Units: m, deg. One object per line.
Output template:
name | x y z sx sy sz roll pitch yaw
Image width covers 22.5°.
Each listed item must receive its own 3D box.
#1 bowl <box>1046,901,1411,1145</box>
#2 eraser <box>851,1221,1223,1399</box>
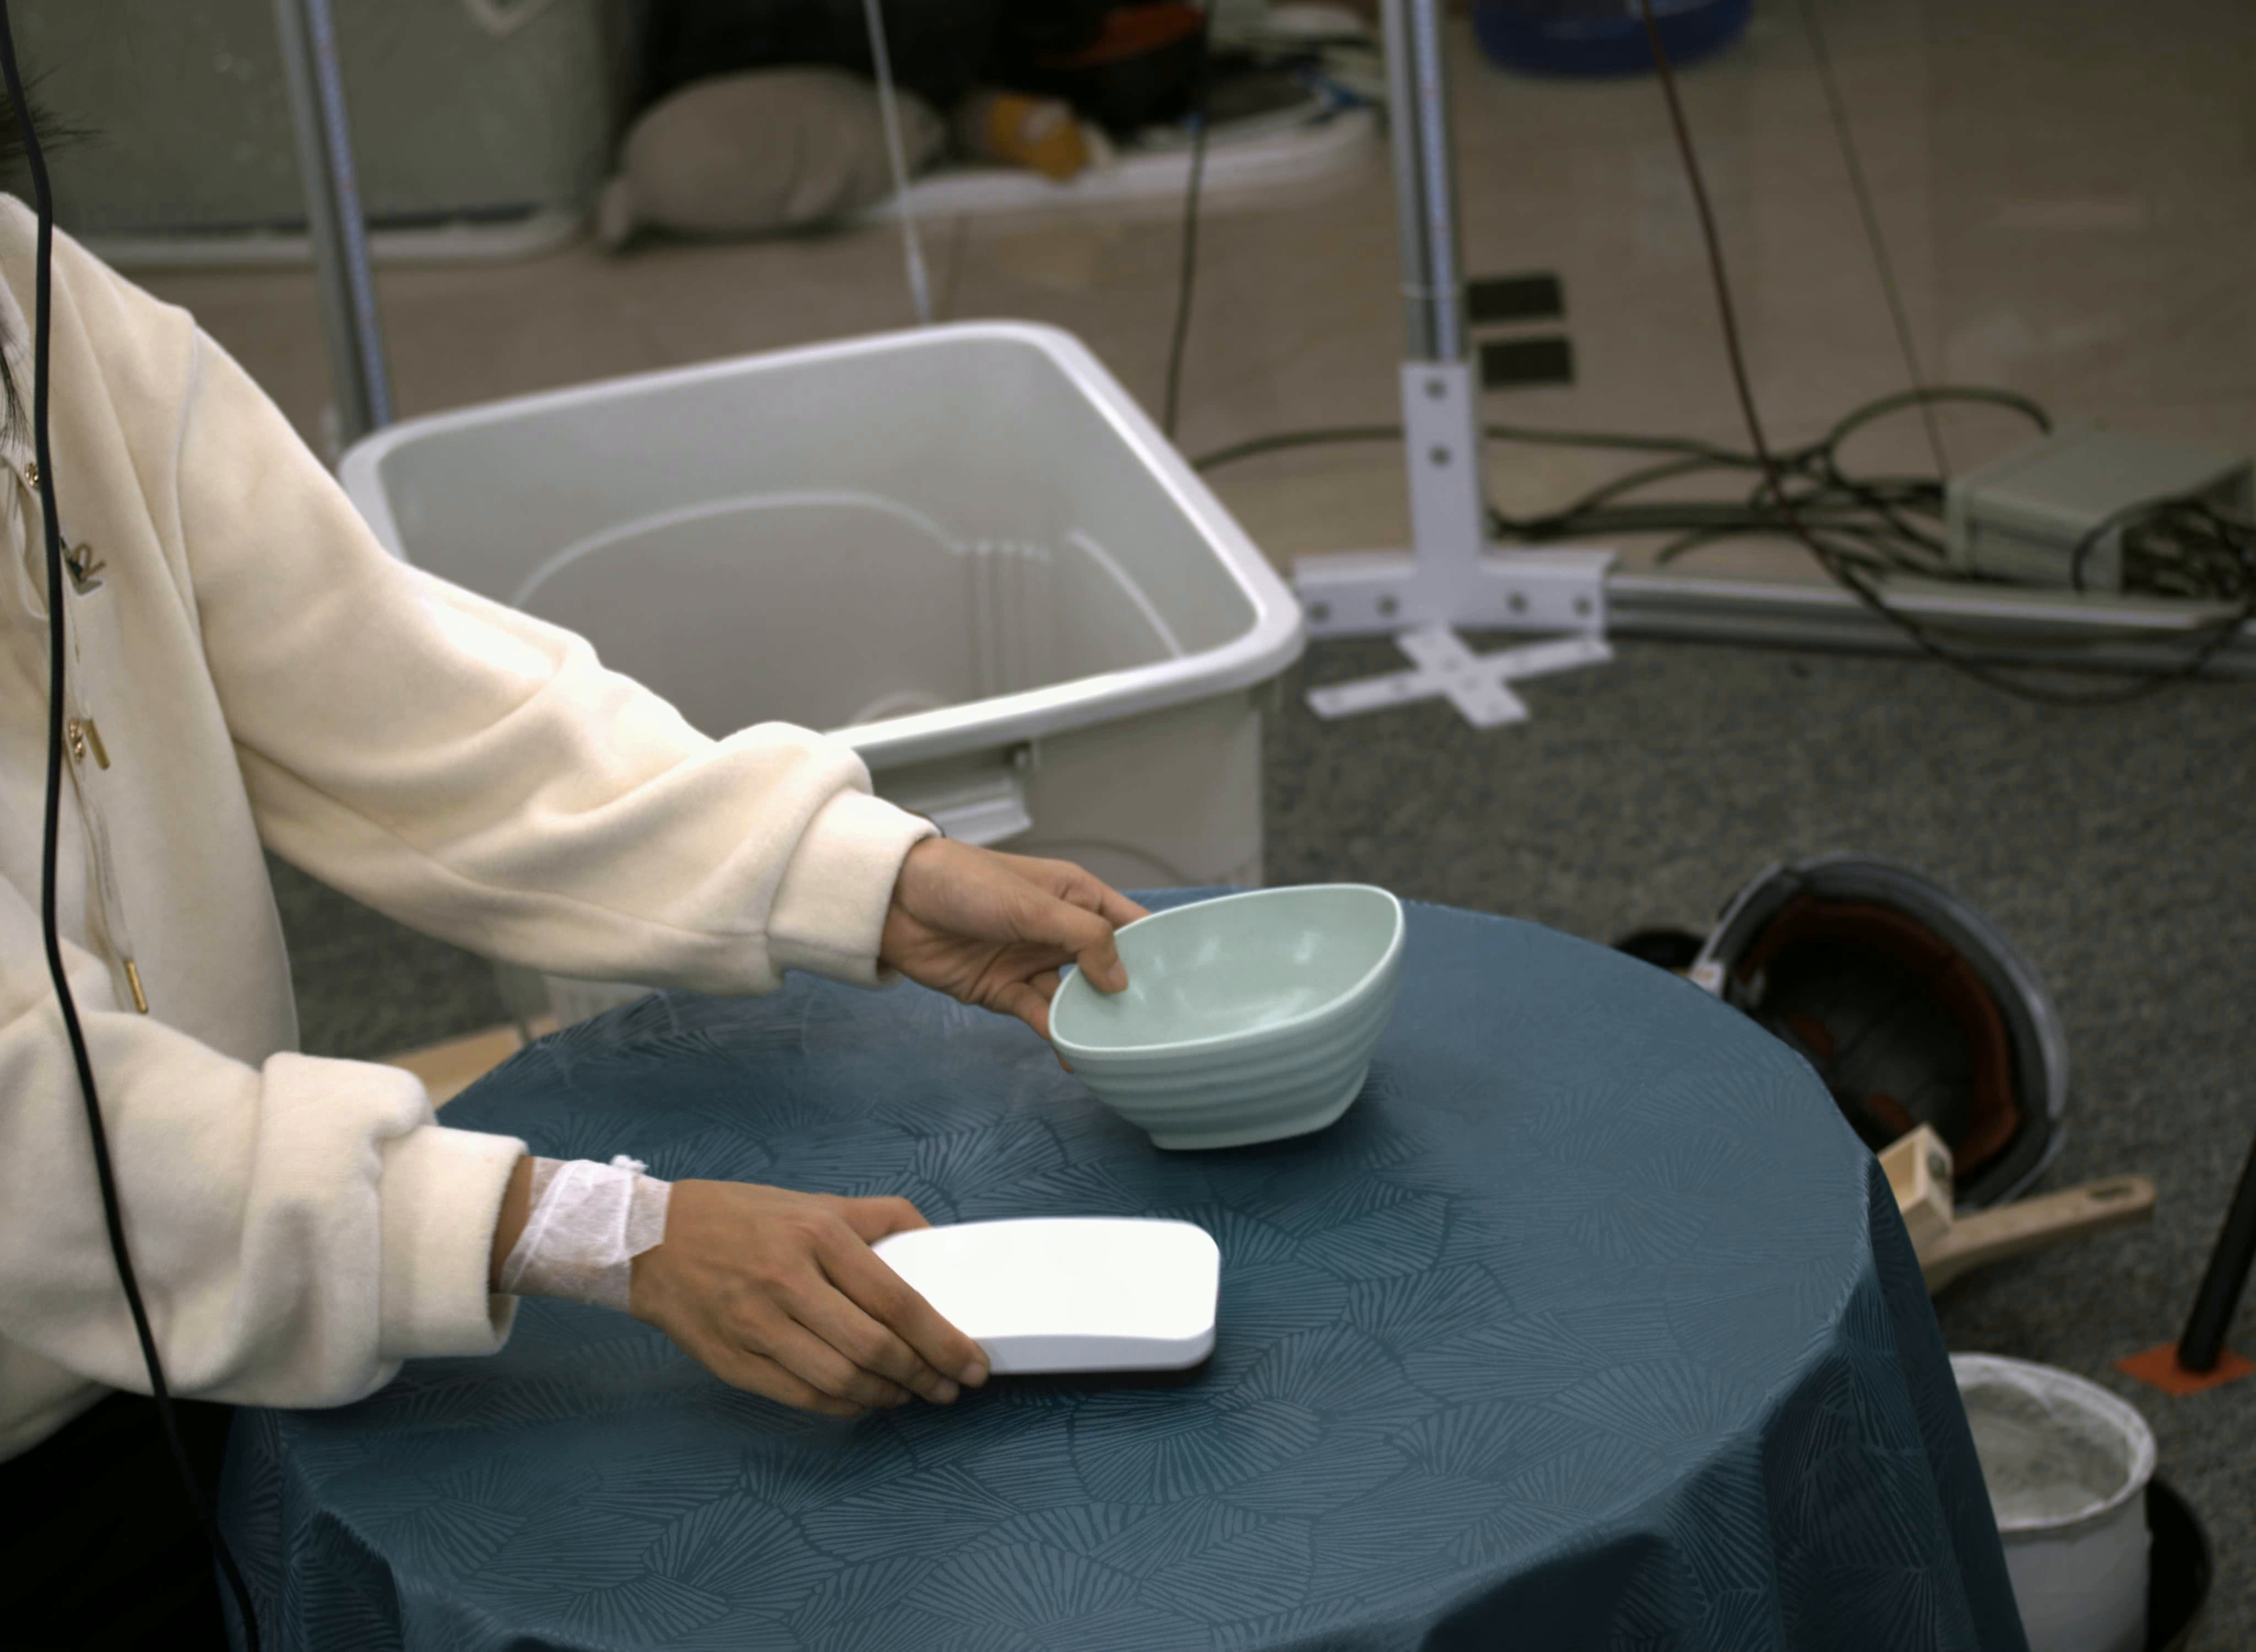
bowl | 0.043 0.080 2.179 0.151 0.059 0.149 -9 19 3
eraser | -0.032 0.174 2.025 0.131 0.035 0.062 -1 37 7
